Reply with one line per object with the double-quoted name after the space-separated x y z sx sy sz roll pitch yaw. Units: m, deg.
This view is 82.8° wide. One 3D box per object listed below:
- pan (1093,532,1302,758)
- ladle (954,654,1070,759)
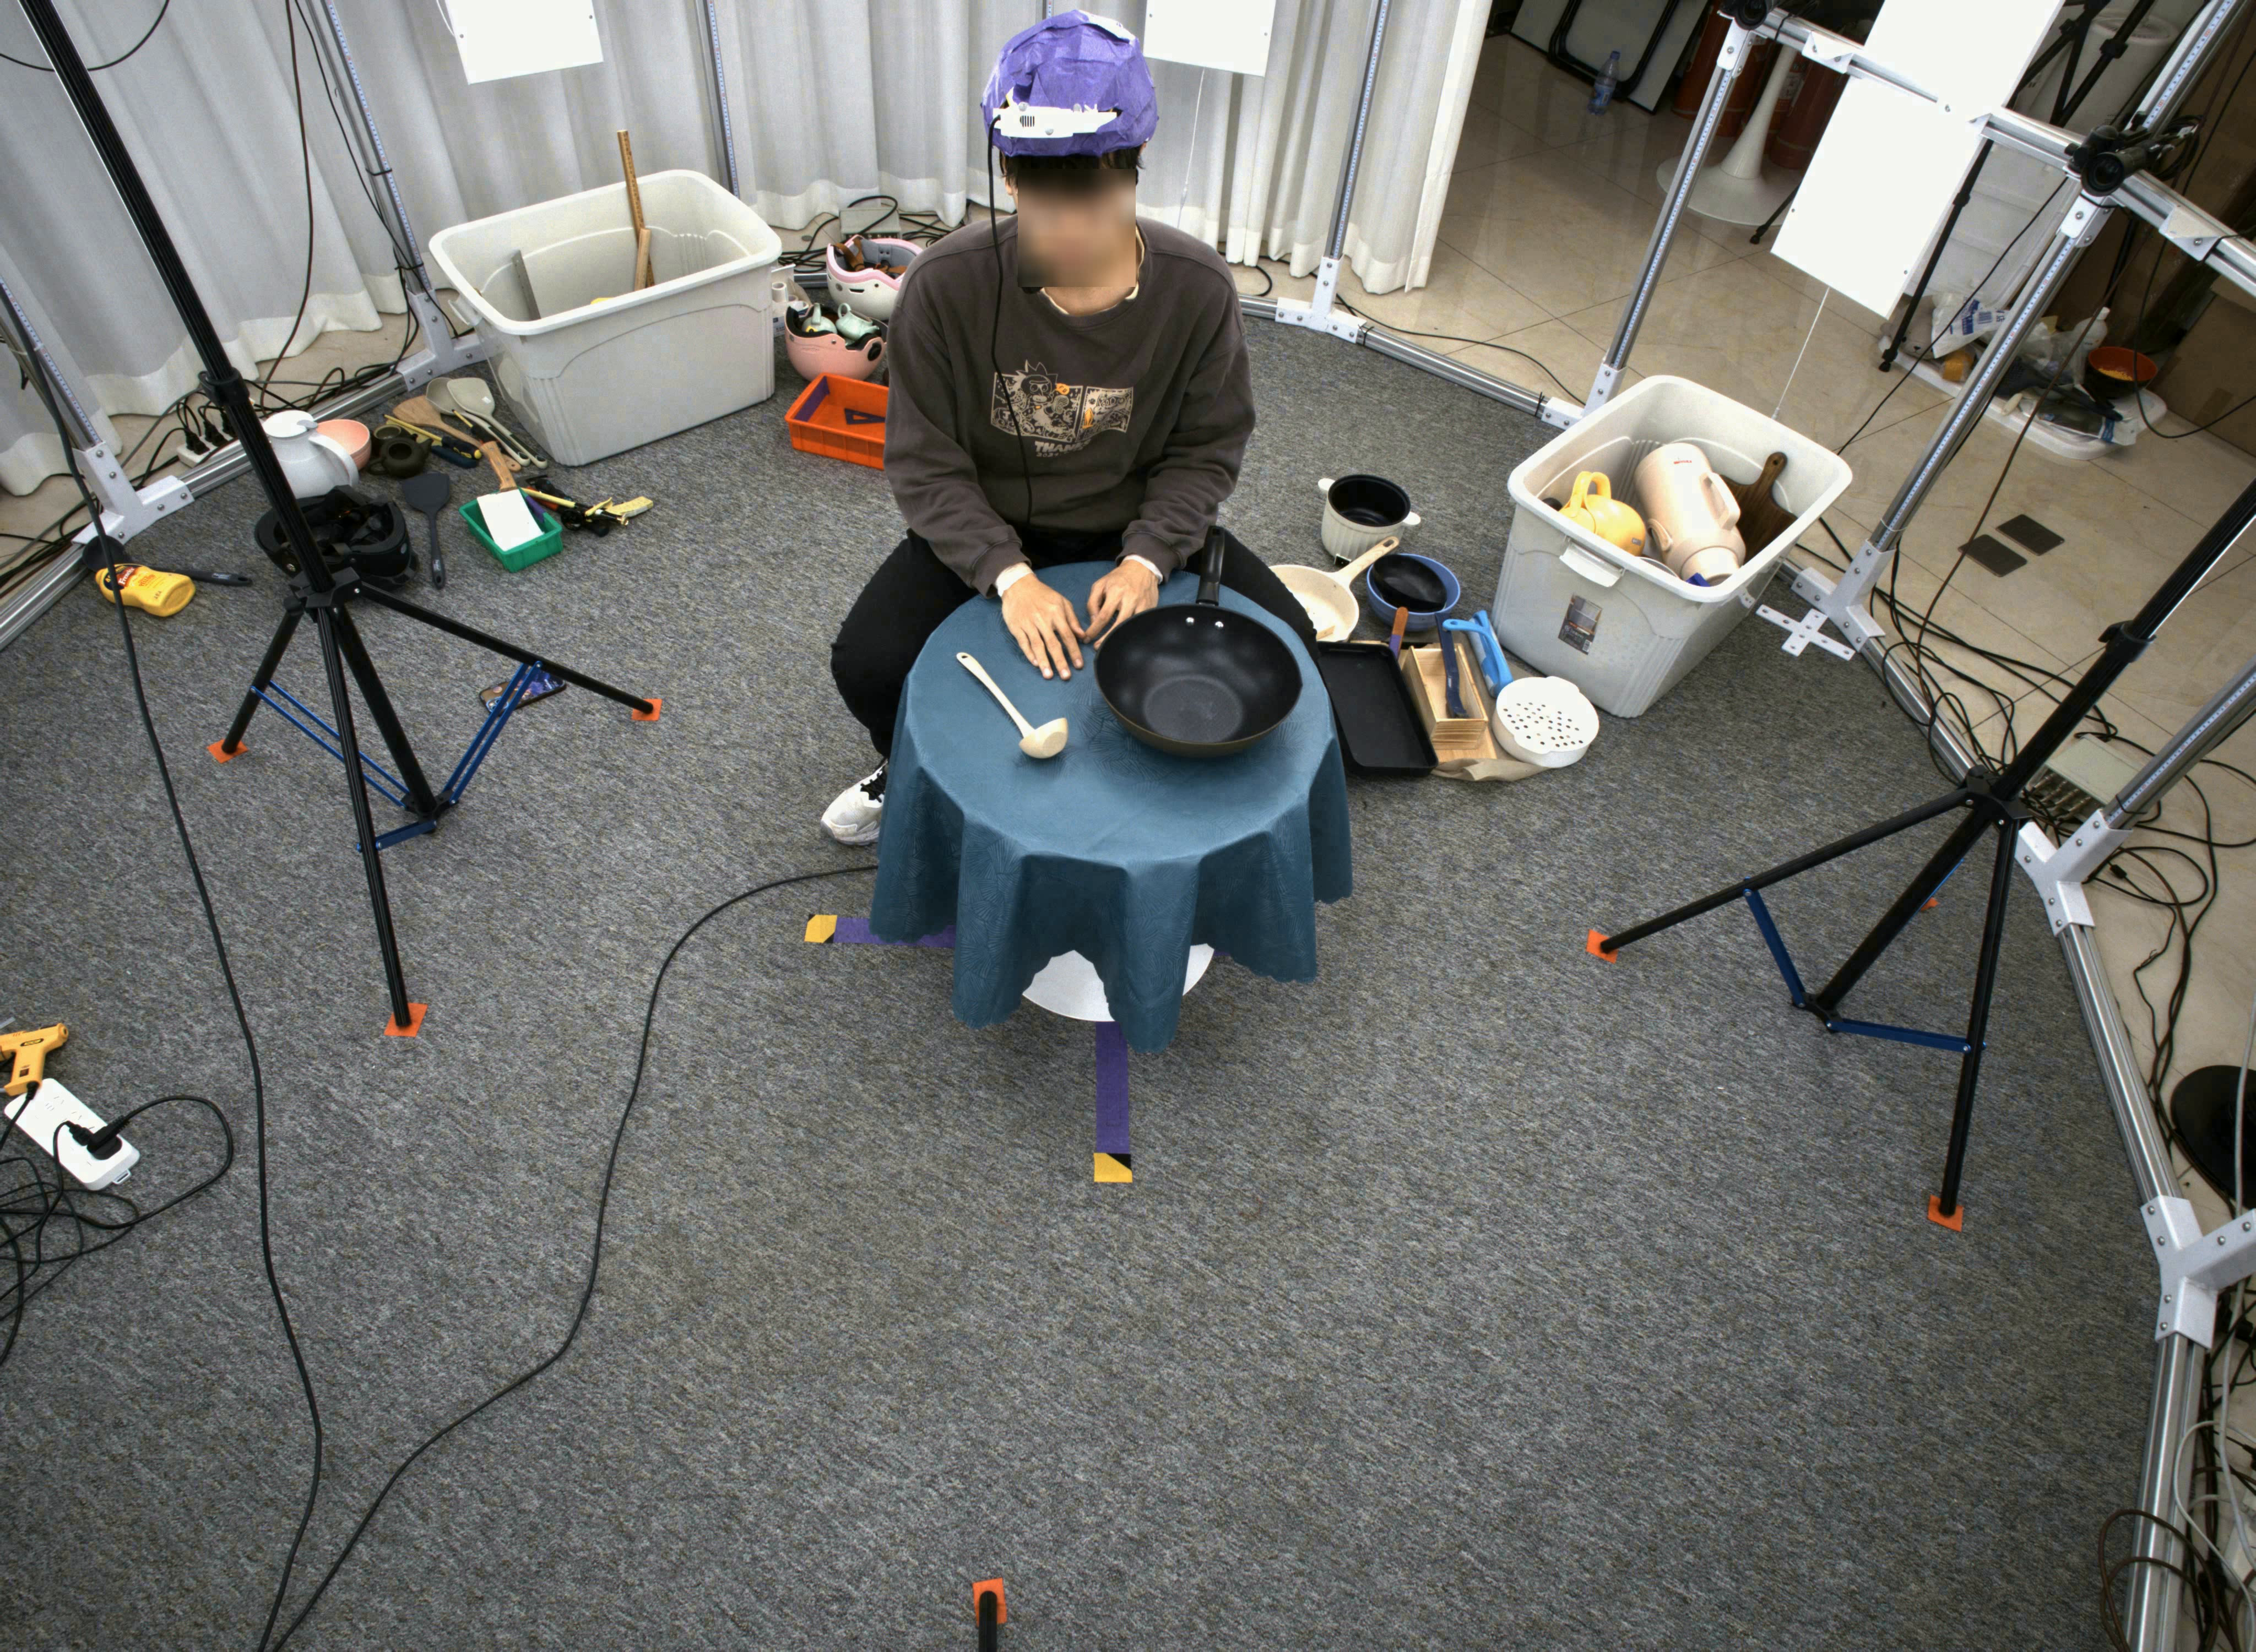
0.104 -0.256 1.842 0.288 0.085 0.474 7 48 3 "pan"
-0.172 -0.187 1.771 0.072 0.071 0.259 -31 58 -20 "ladle"
